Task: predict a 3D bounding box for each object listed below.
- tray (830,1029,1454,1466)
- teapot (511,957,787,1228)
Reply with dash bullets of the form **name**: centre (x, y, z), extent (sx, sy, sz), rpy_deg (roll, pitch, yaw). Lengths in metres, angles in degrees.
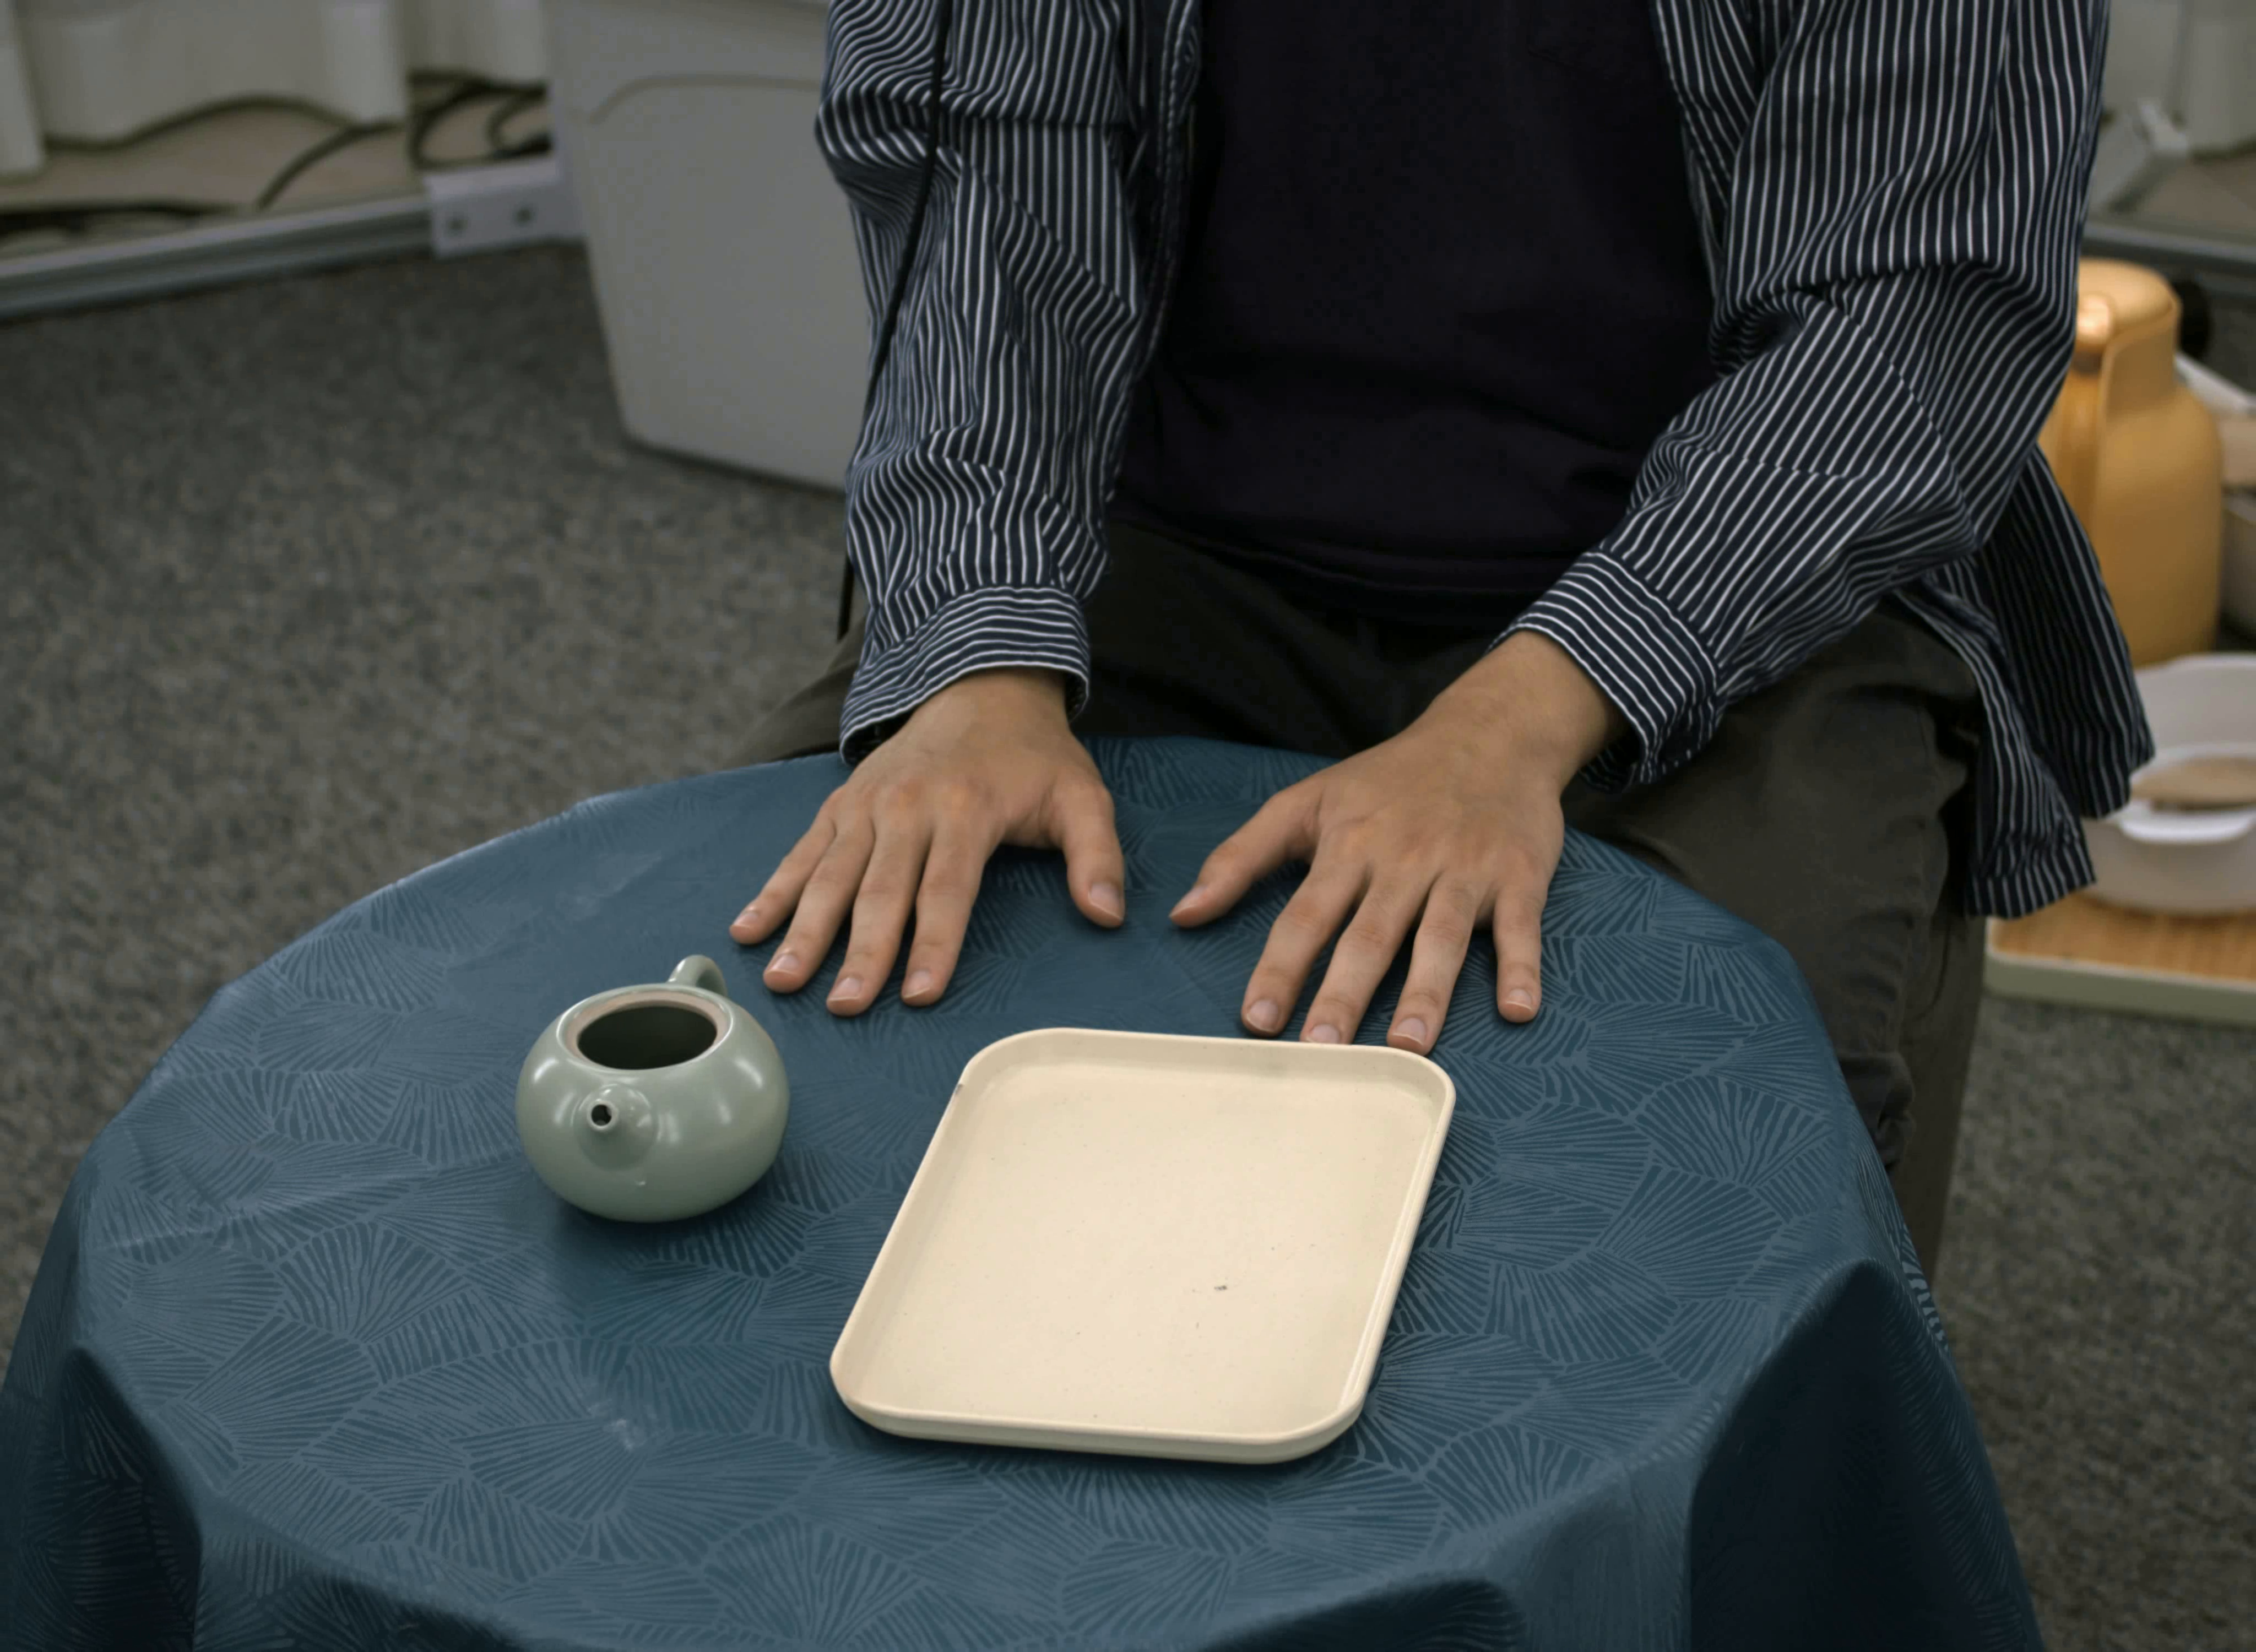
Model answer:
- **tray**: centre (0.008, 0.135, 1.811), extent (0.170, 0.017, 0.244), rpy_deg (4, 28, 11)
- **teapot**: centre (-0.156, 0.090, 1.871), extent (0.091, 0.060, 0.130), rpy_deg (3, 27, 17)
